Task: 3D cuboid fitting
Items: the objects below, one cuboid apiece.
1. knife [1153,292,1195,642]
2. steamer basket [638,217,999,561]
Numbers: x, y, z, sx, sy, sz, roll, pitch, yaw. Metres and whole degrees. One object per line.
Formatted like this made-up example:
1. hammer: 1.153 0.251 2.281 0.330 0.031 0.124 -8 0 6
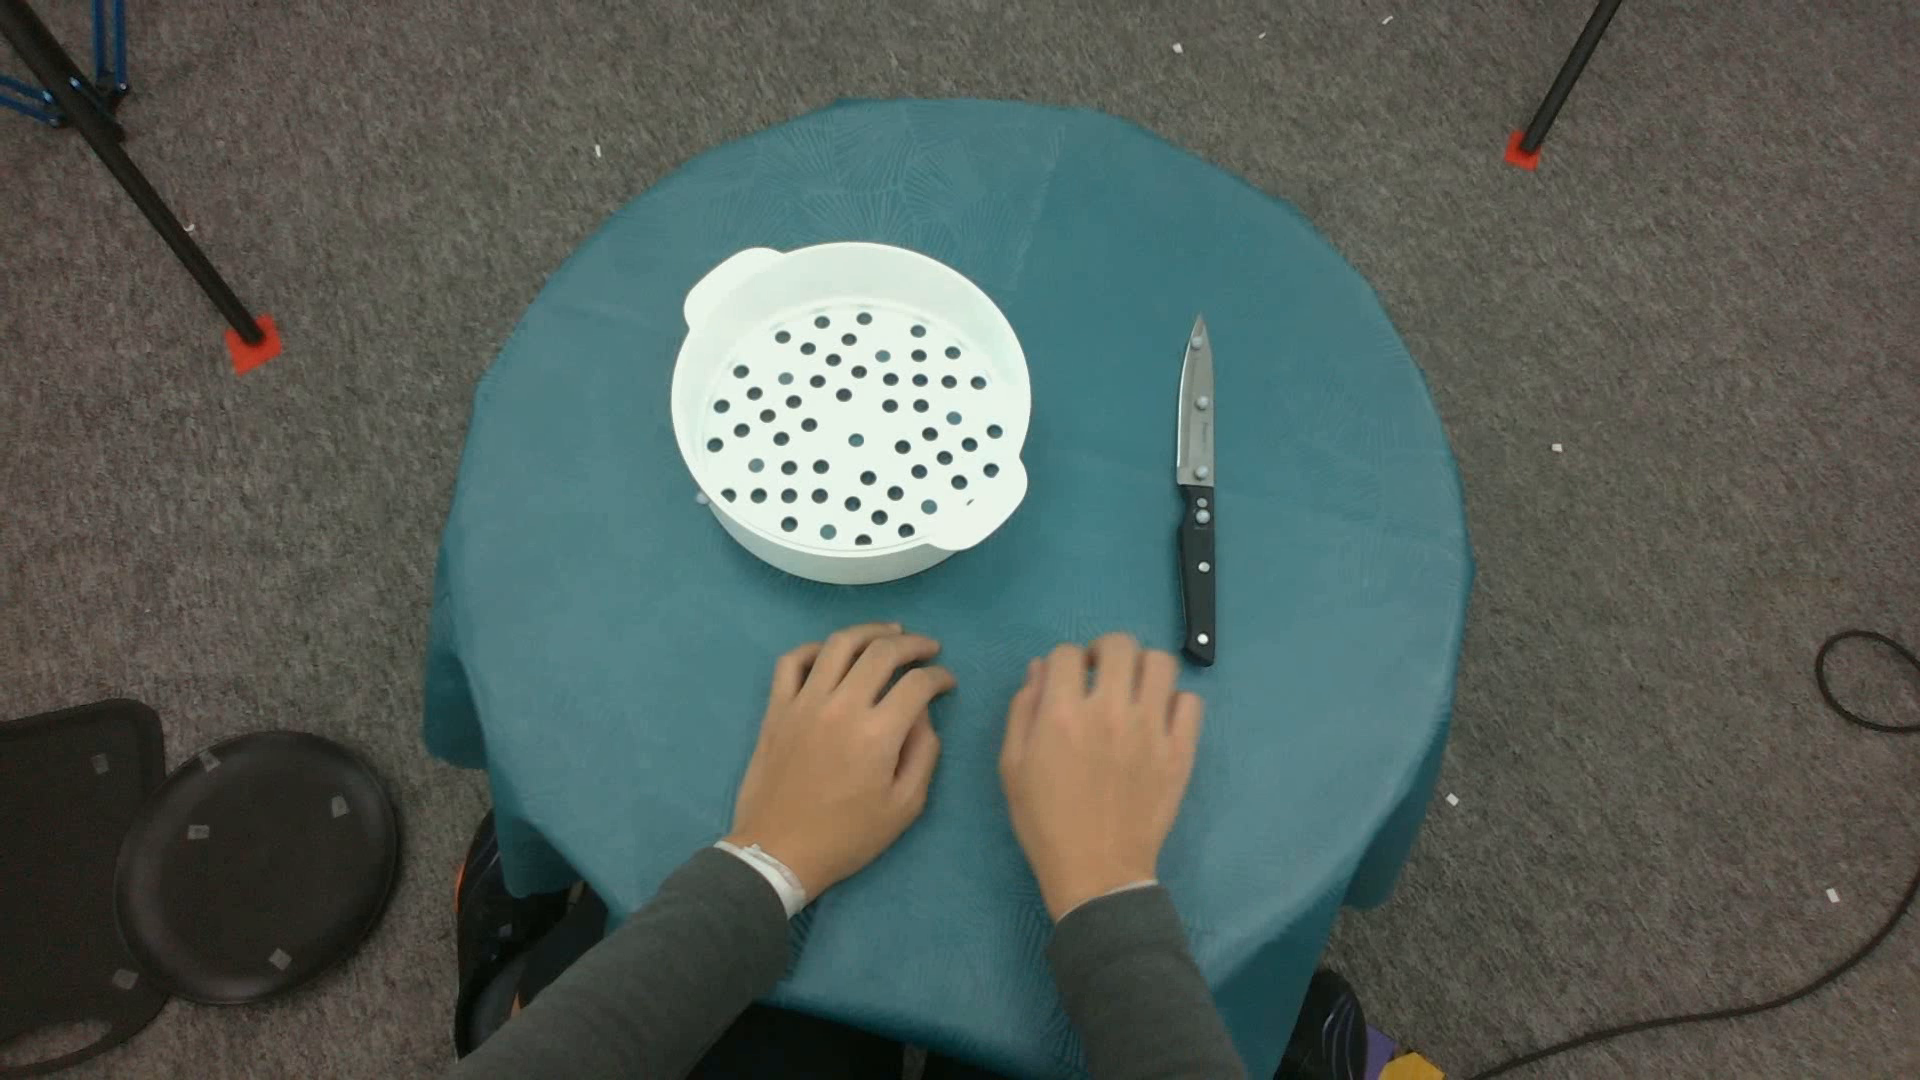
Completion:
1. knife: 0.128 -0.050 0.825 0.024 0.016 0.239 5 64 -4
2. steamer basket: -0.080 -0.086 0.796 0.230 0.069 0.202 42 71 13
